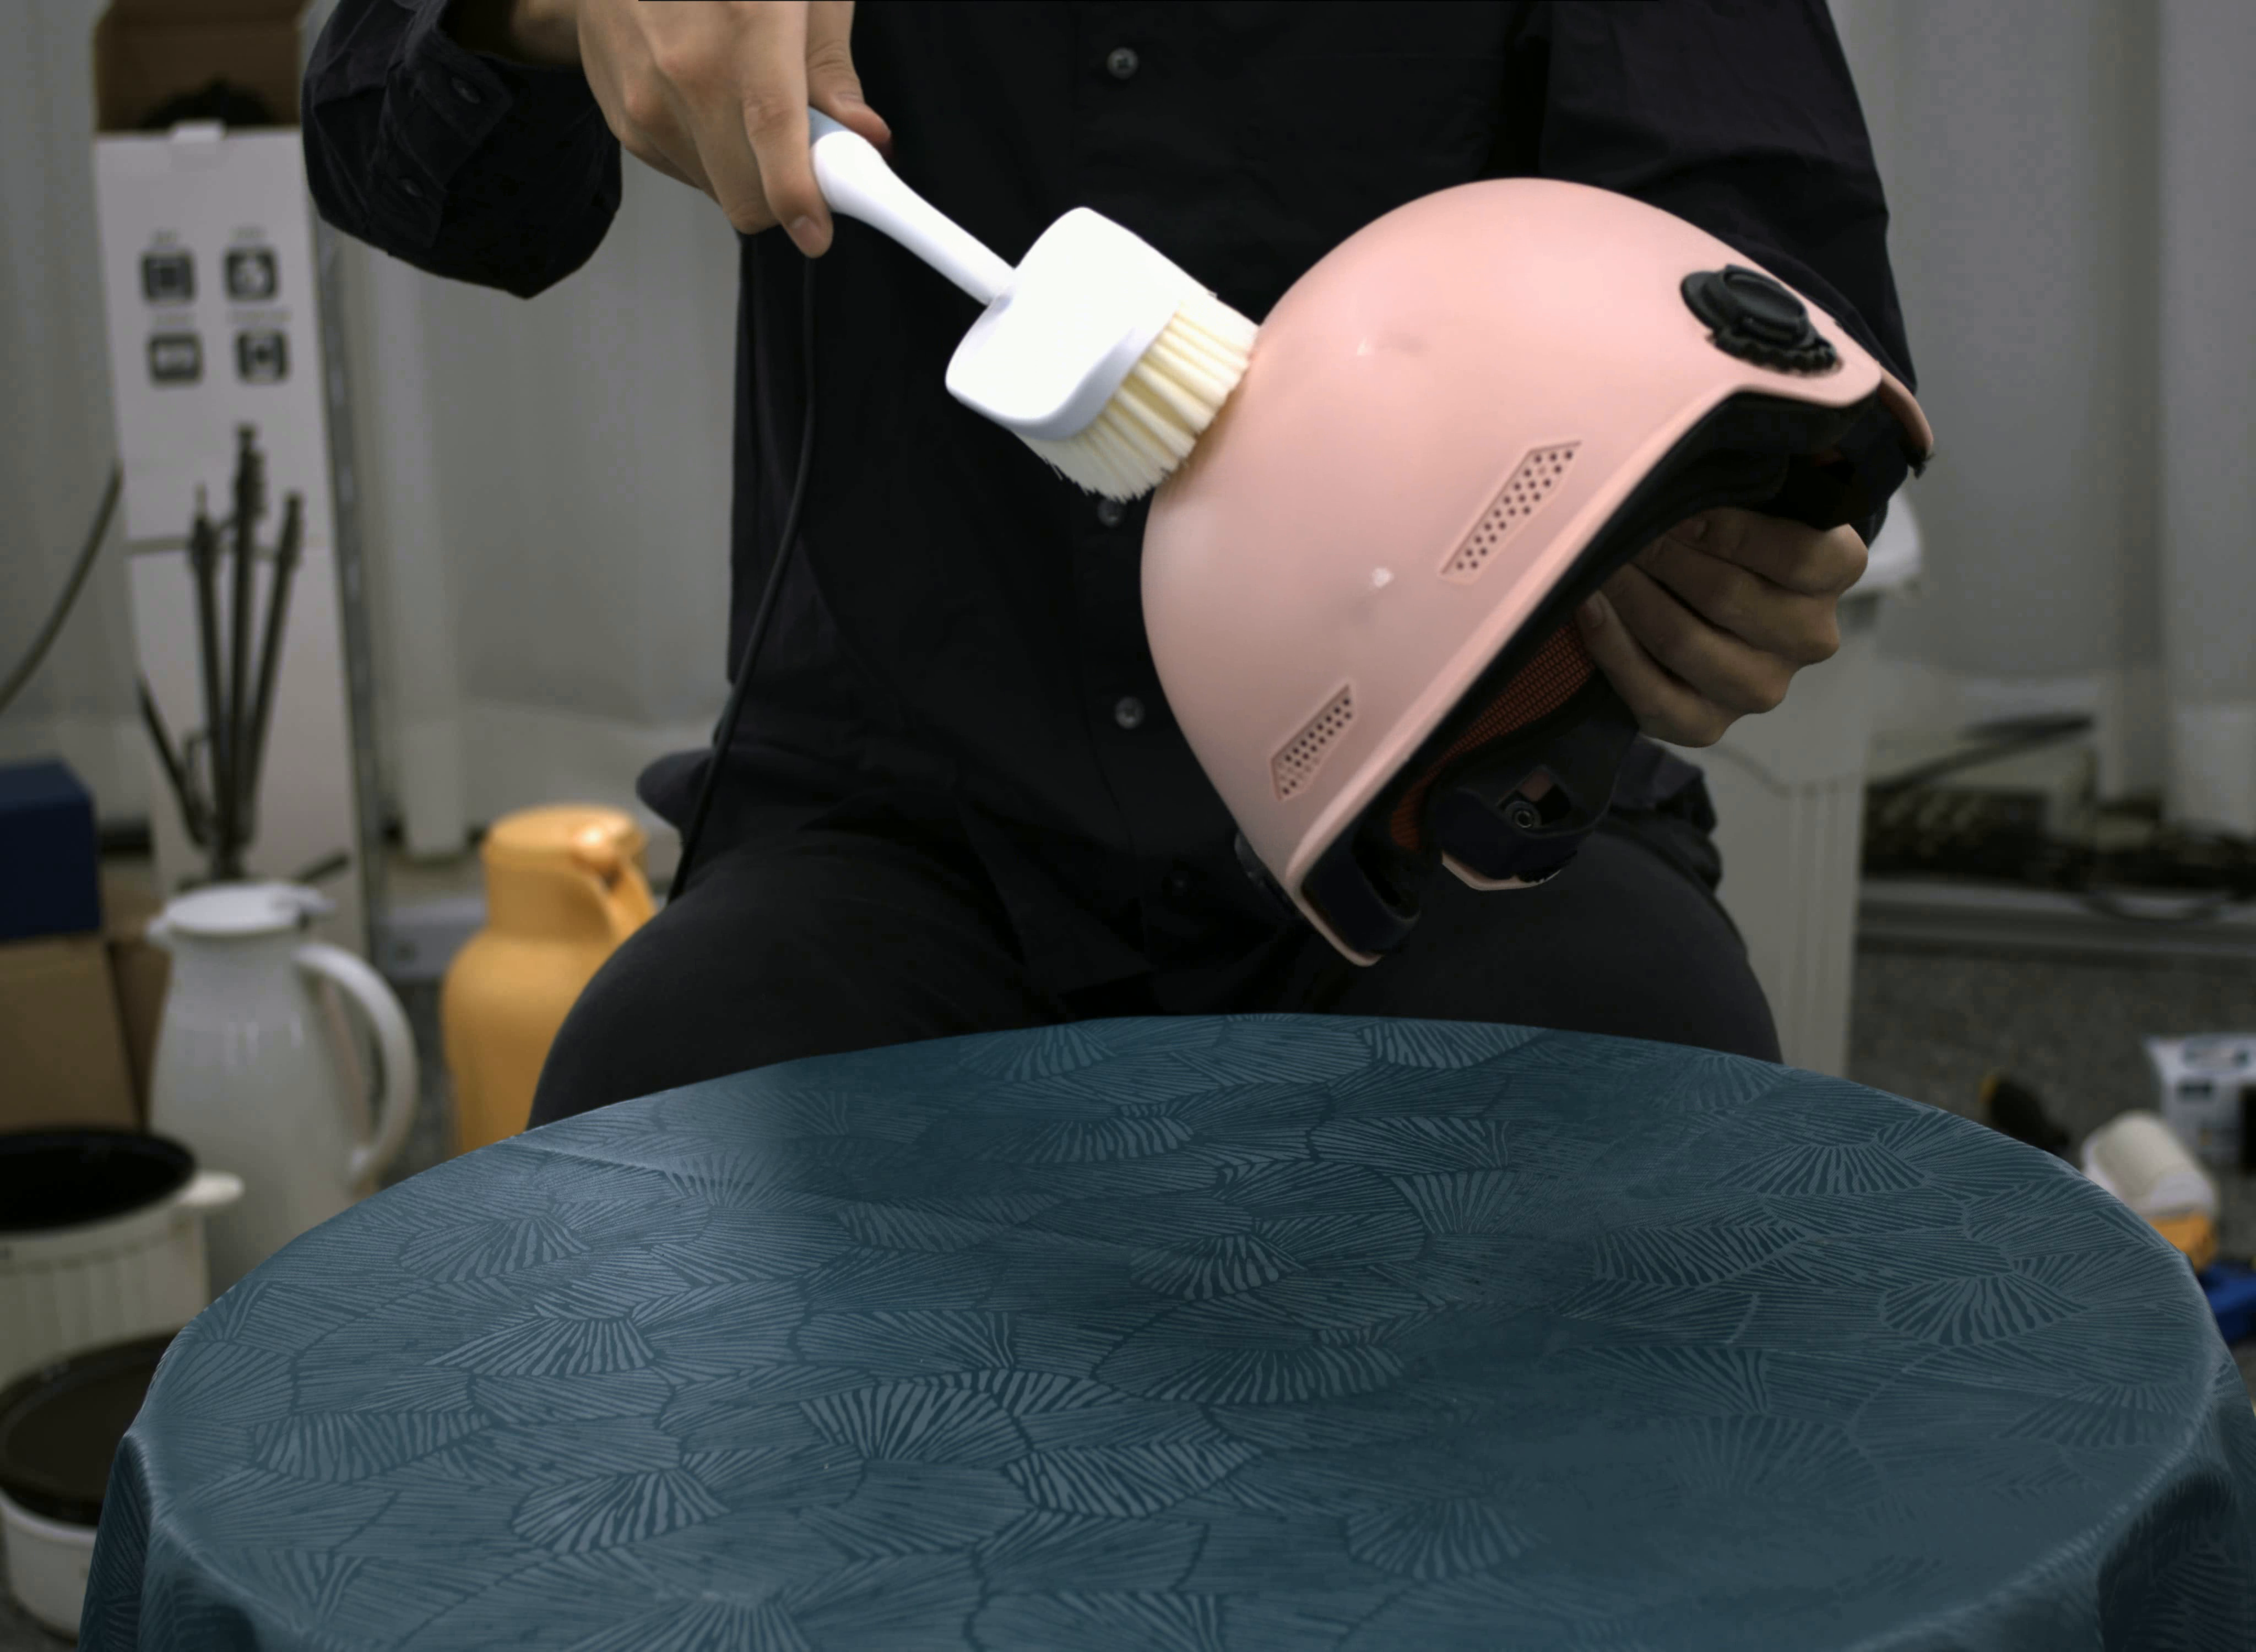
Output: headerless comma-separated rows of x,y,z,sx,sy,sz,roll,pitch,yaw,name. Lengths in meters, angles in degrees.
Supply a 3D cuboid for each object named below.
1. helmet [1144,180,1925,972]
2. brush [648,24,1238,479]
0.094,-0.091,1.577,0.159,0.233,0.266,45,20,11,helmet
-0.049,-0.177,1.656,0.083,0.084,0.329,-22,30,-19,brush
